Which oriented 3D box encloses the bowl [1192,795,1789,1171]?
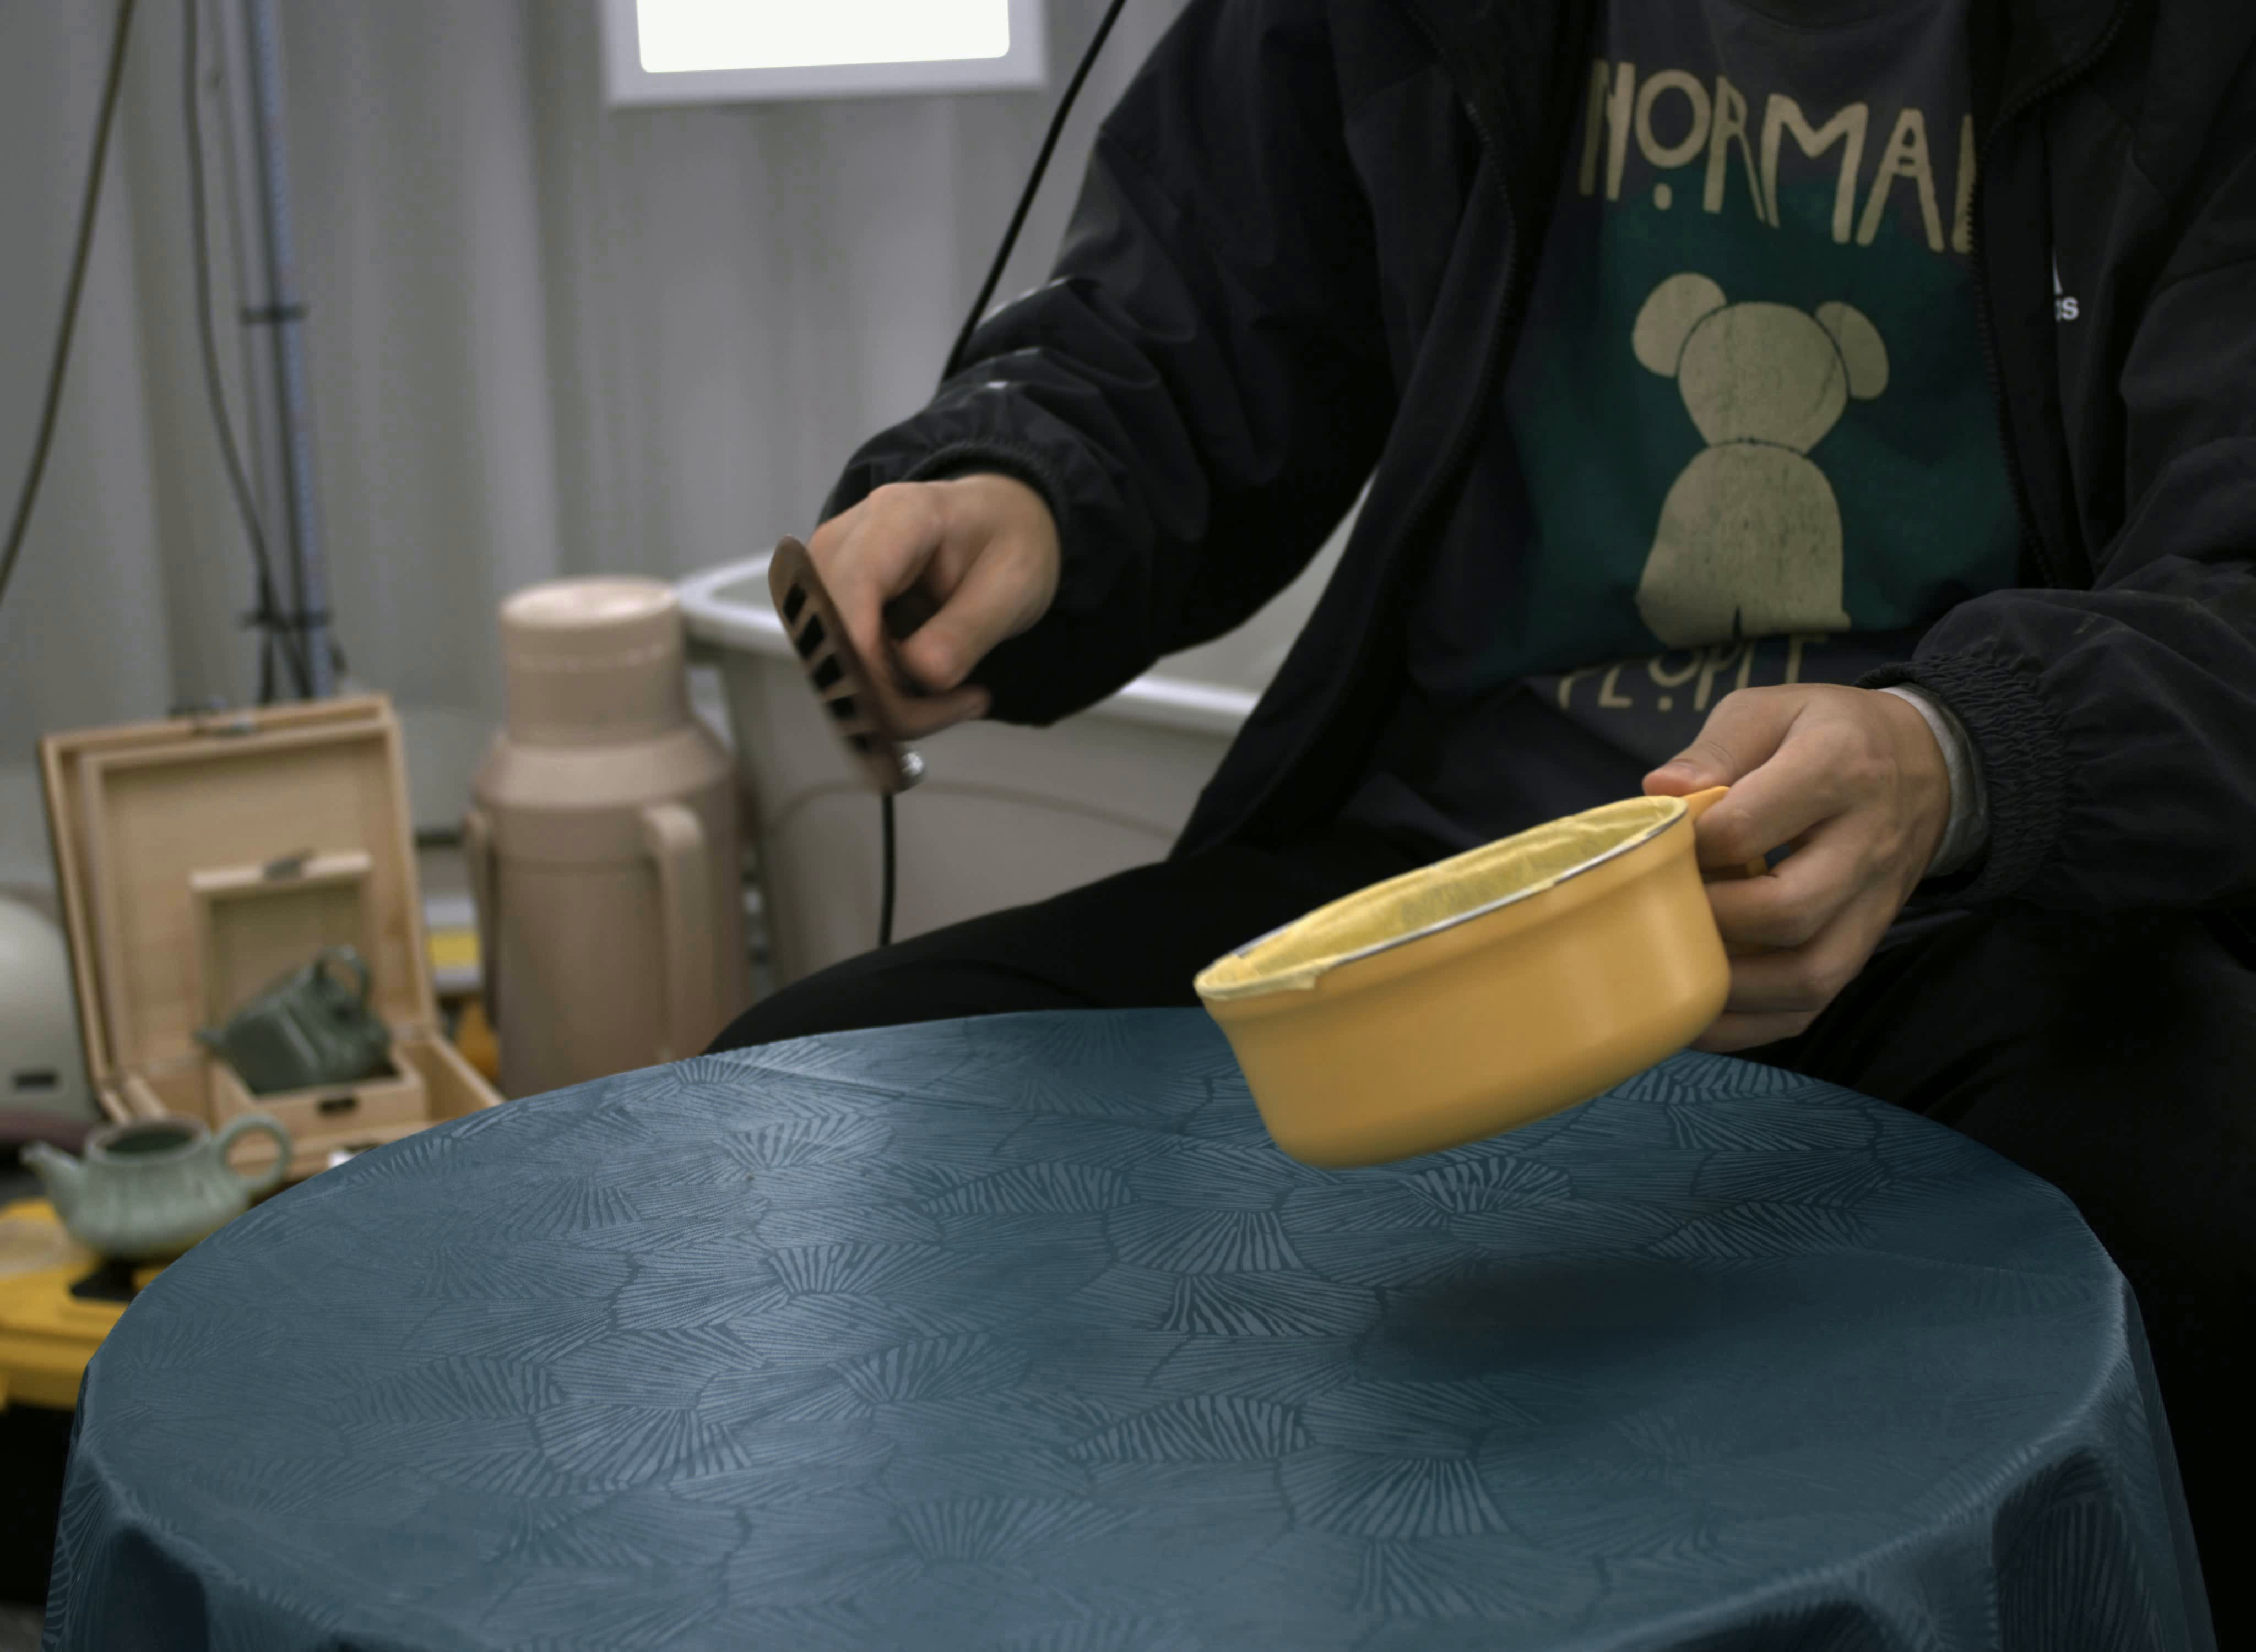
[{"bbox_3d":[0.112,0.045,1.588,0.179,0.074,0.153,-24,6,-34],"label":"bowl"}]

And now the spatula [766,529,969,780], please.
[{"bbox_3d":[-0.077,-0.049,1.774,0.024,0.086,0.386,-34,-2,2],"label":"spatula"}]
